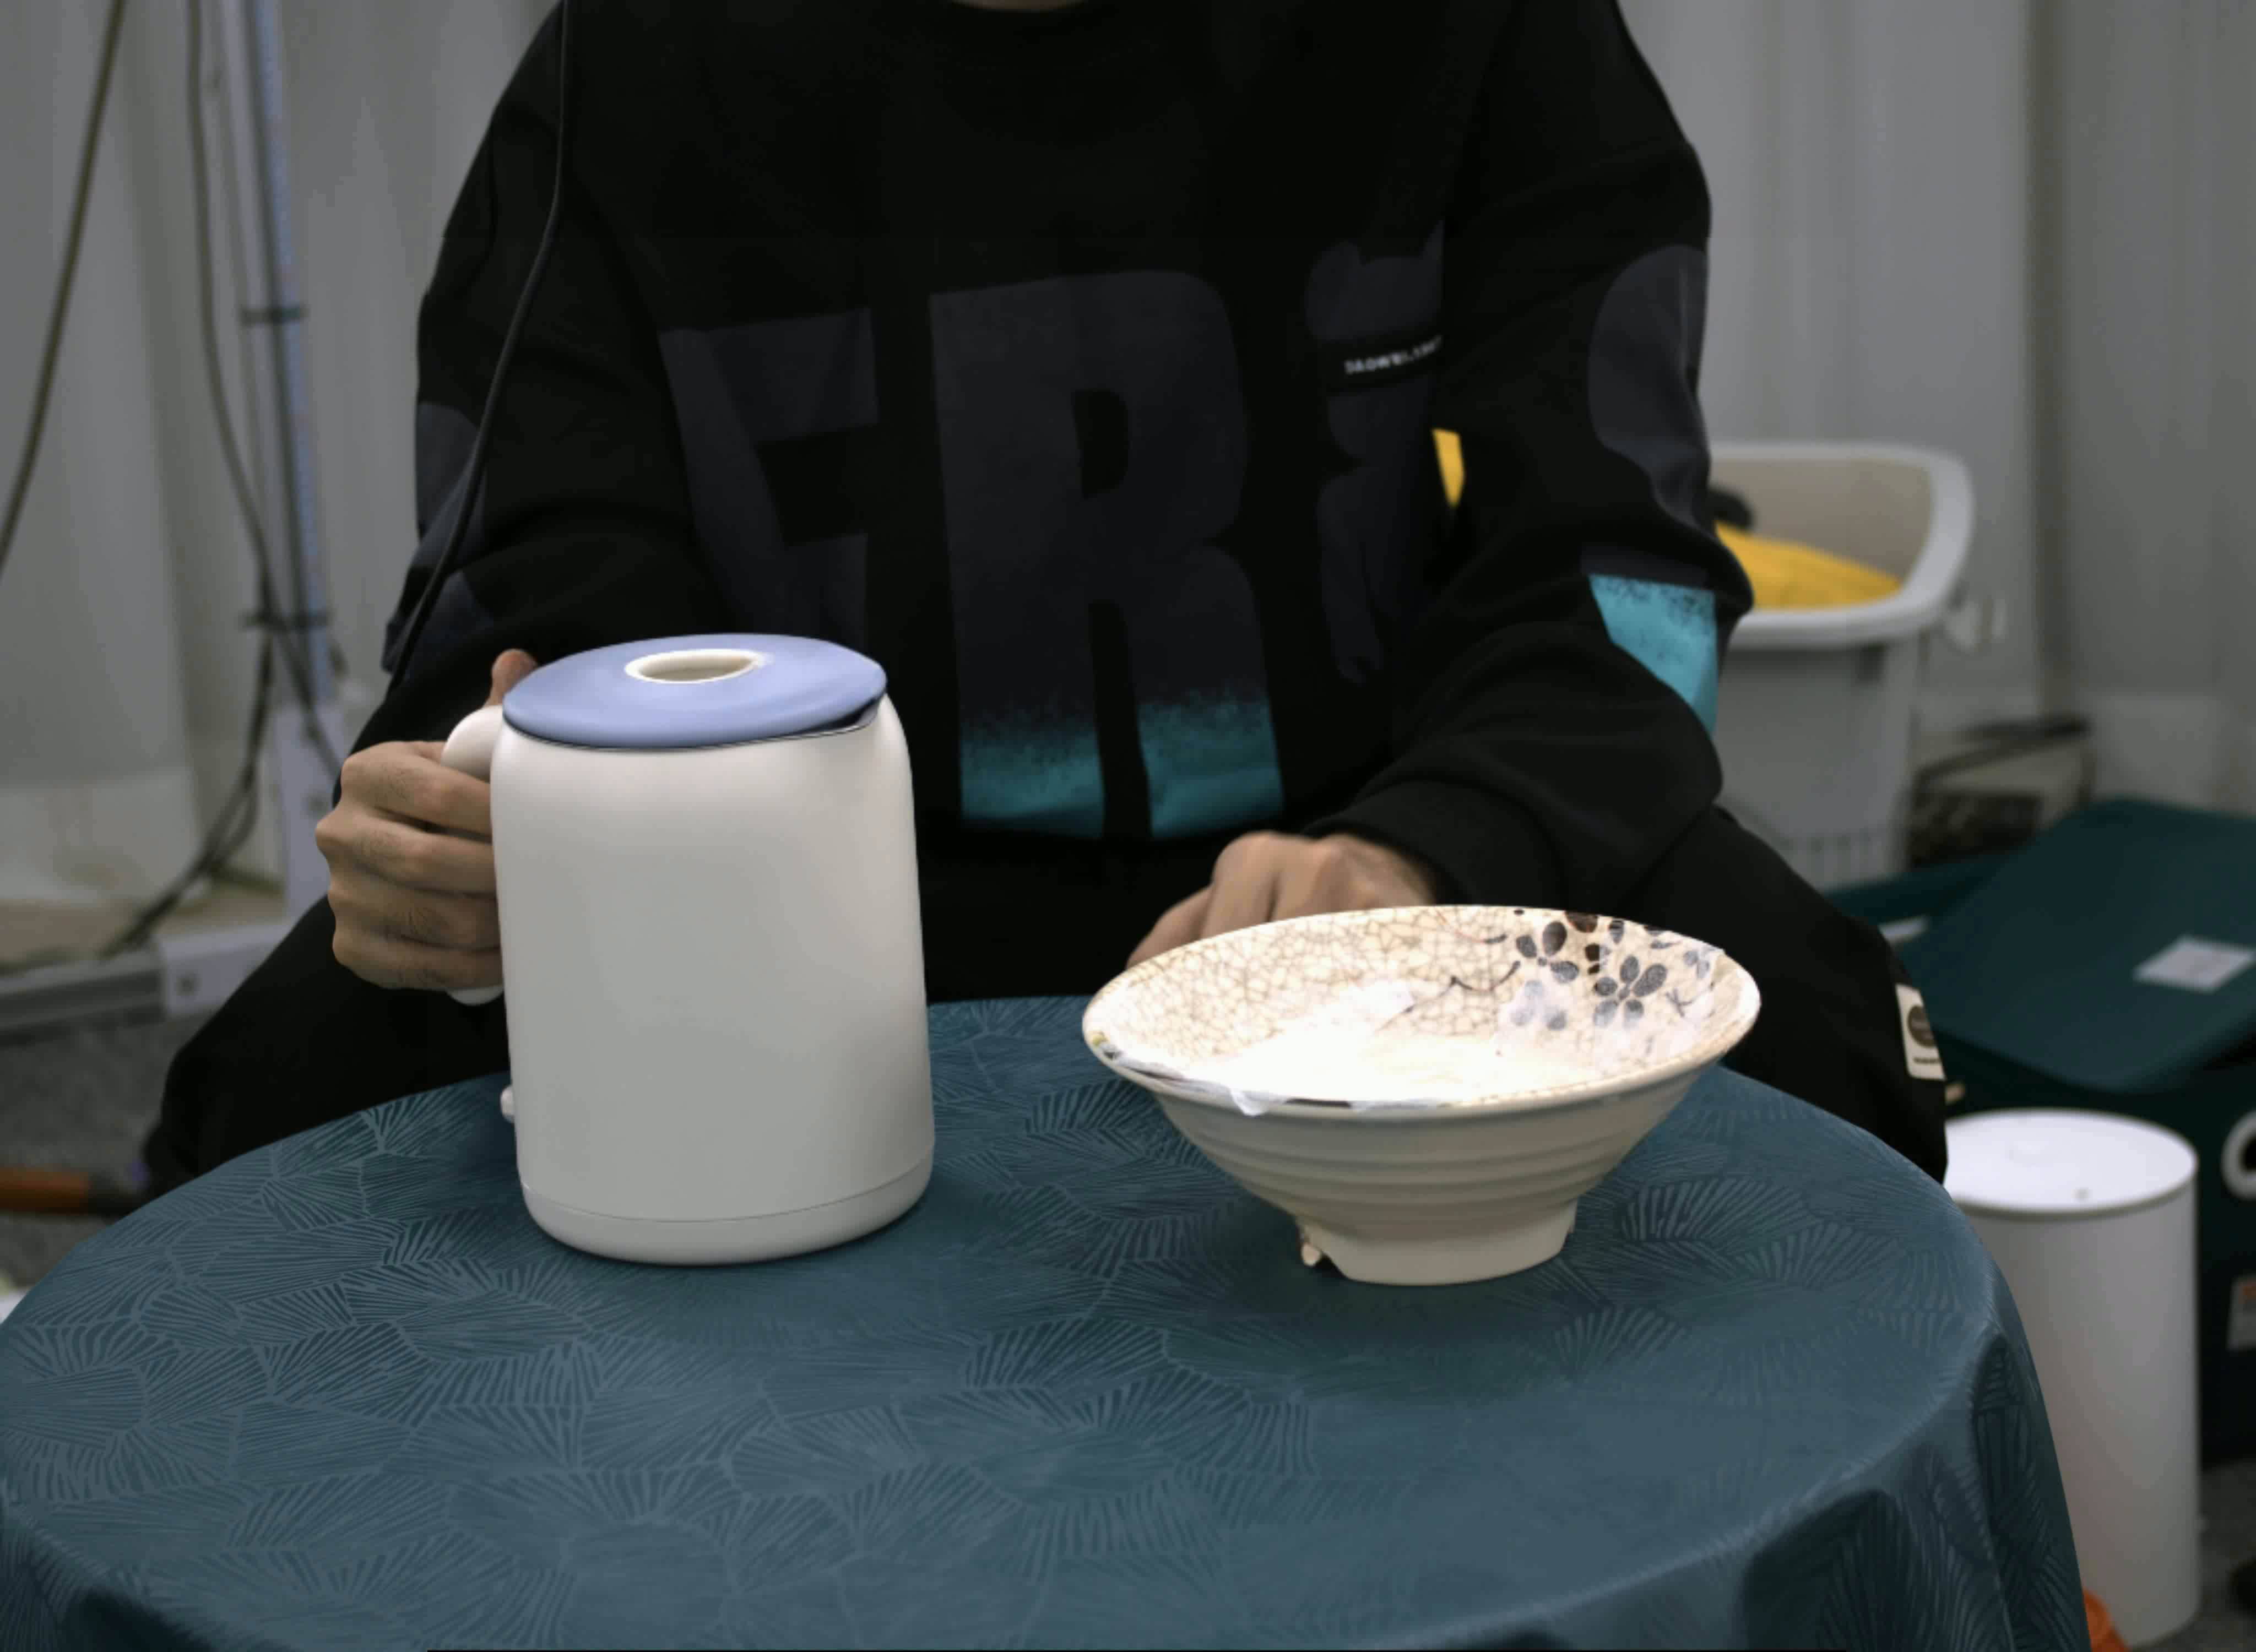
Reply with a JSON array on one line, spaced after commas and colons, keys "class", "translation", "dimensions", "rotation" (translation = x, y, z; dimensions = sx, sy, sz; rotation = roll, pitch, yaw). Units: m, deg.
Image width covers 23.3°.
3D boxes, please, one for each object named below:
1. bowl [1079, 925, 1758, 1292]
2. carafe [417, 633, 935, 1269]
[{"class": "bowl", "translation": [0.088, 0.091, 1.644], "dimensions": [0.203, 0.078, 0.205], "rotation": [-2, 12, 0]}, {"class": "carafe", "translation": [-0.149, 0.036, 1.714], "dimensions": [0.192, 0.182, 0.132], "rotation": [5, 15, 37]}]
